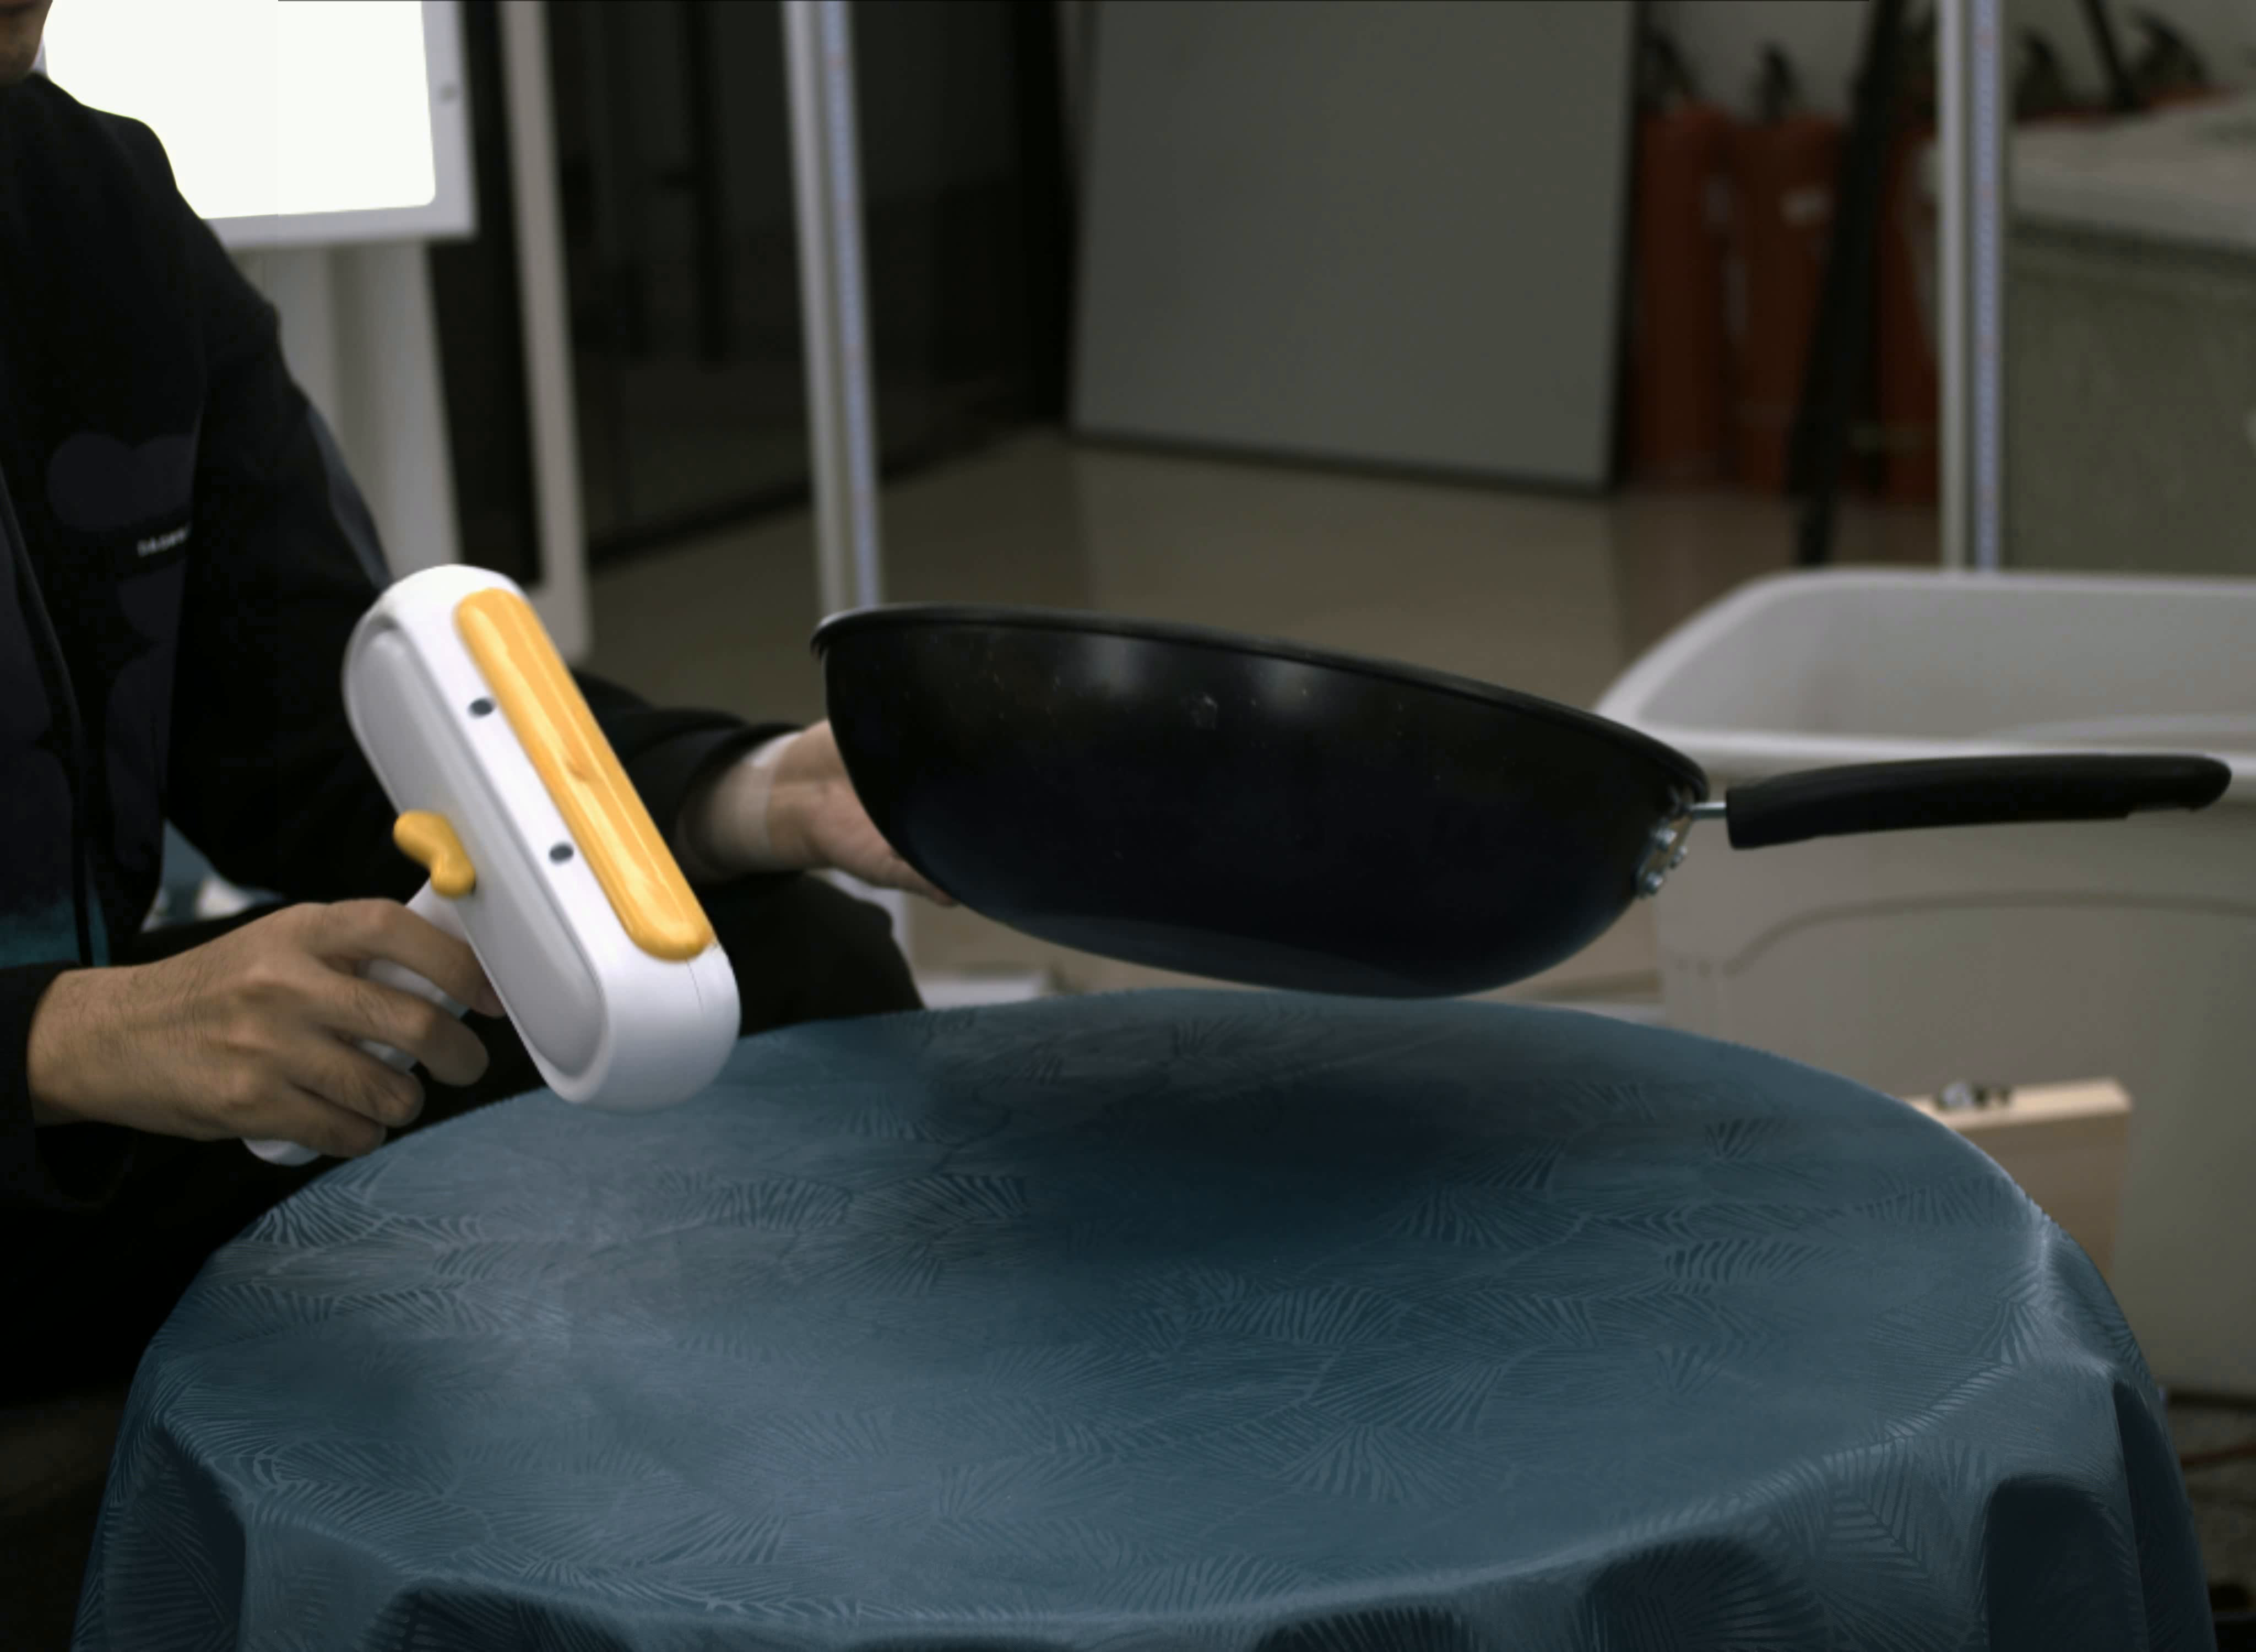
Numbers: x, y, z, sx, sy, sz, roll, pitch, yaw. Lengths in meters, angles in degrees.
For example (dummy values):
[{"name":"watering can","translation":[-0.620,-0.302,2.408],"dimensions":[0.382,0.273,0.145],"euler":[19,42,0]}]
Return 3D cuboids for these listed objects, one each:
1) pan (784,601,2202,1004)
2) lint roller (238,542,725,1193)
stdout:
[{"name":"pan","translation":[0.111,0.002,1.788],"dimensions":[0.474,0.113,0.308],"euler":[8,-8,13]},{"name":"lint roller","translation":[-0.215,0.038,1.690],"dimensions":[0.072,0.194,0.195],"euler":[-6,49,-44]}]
